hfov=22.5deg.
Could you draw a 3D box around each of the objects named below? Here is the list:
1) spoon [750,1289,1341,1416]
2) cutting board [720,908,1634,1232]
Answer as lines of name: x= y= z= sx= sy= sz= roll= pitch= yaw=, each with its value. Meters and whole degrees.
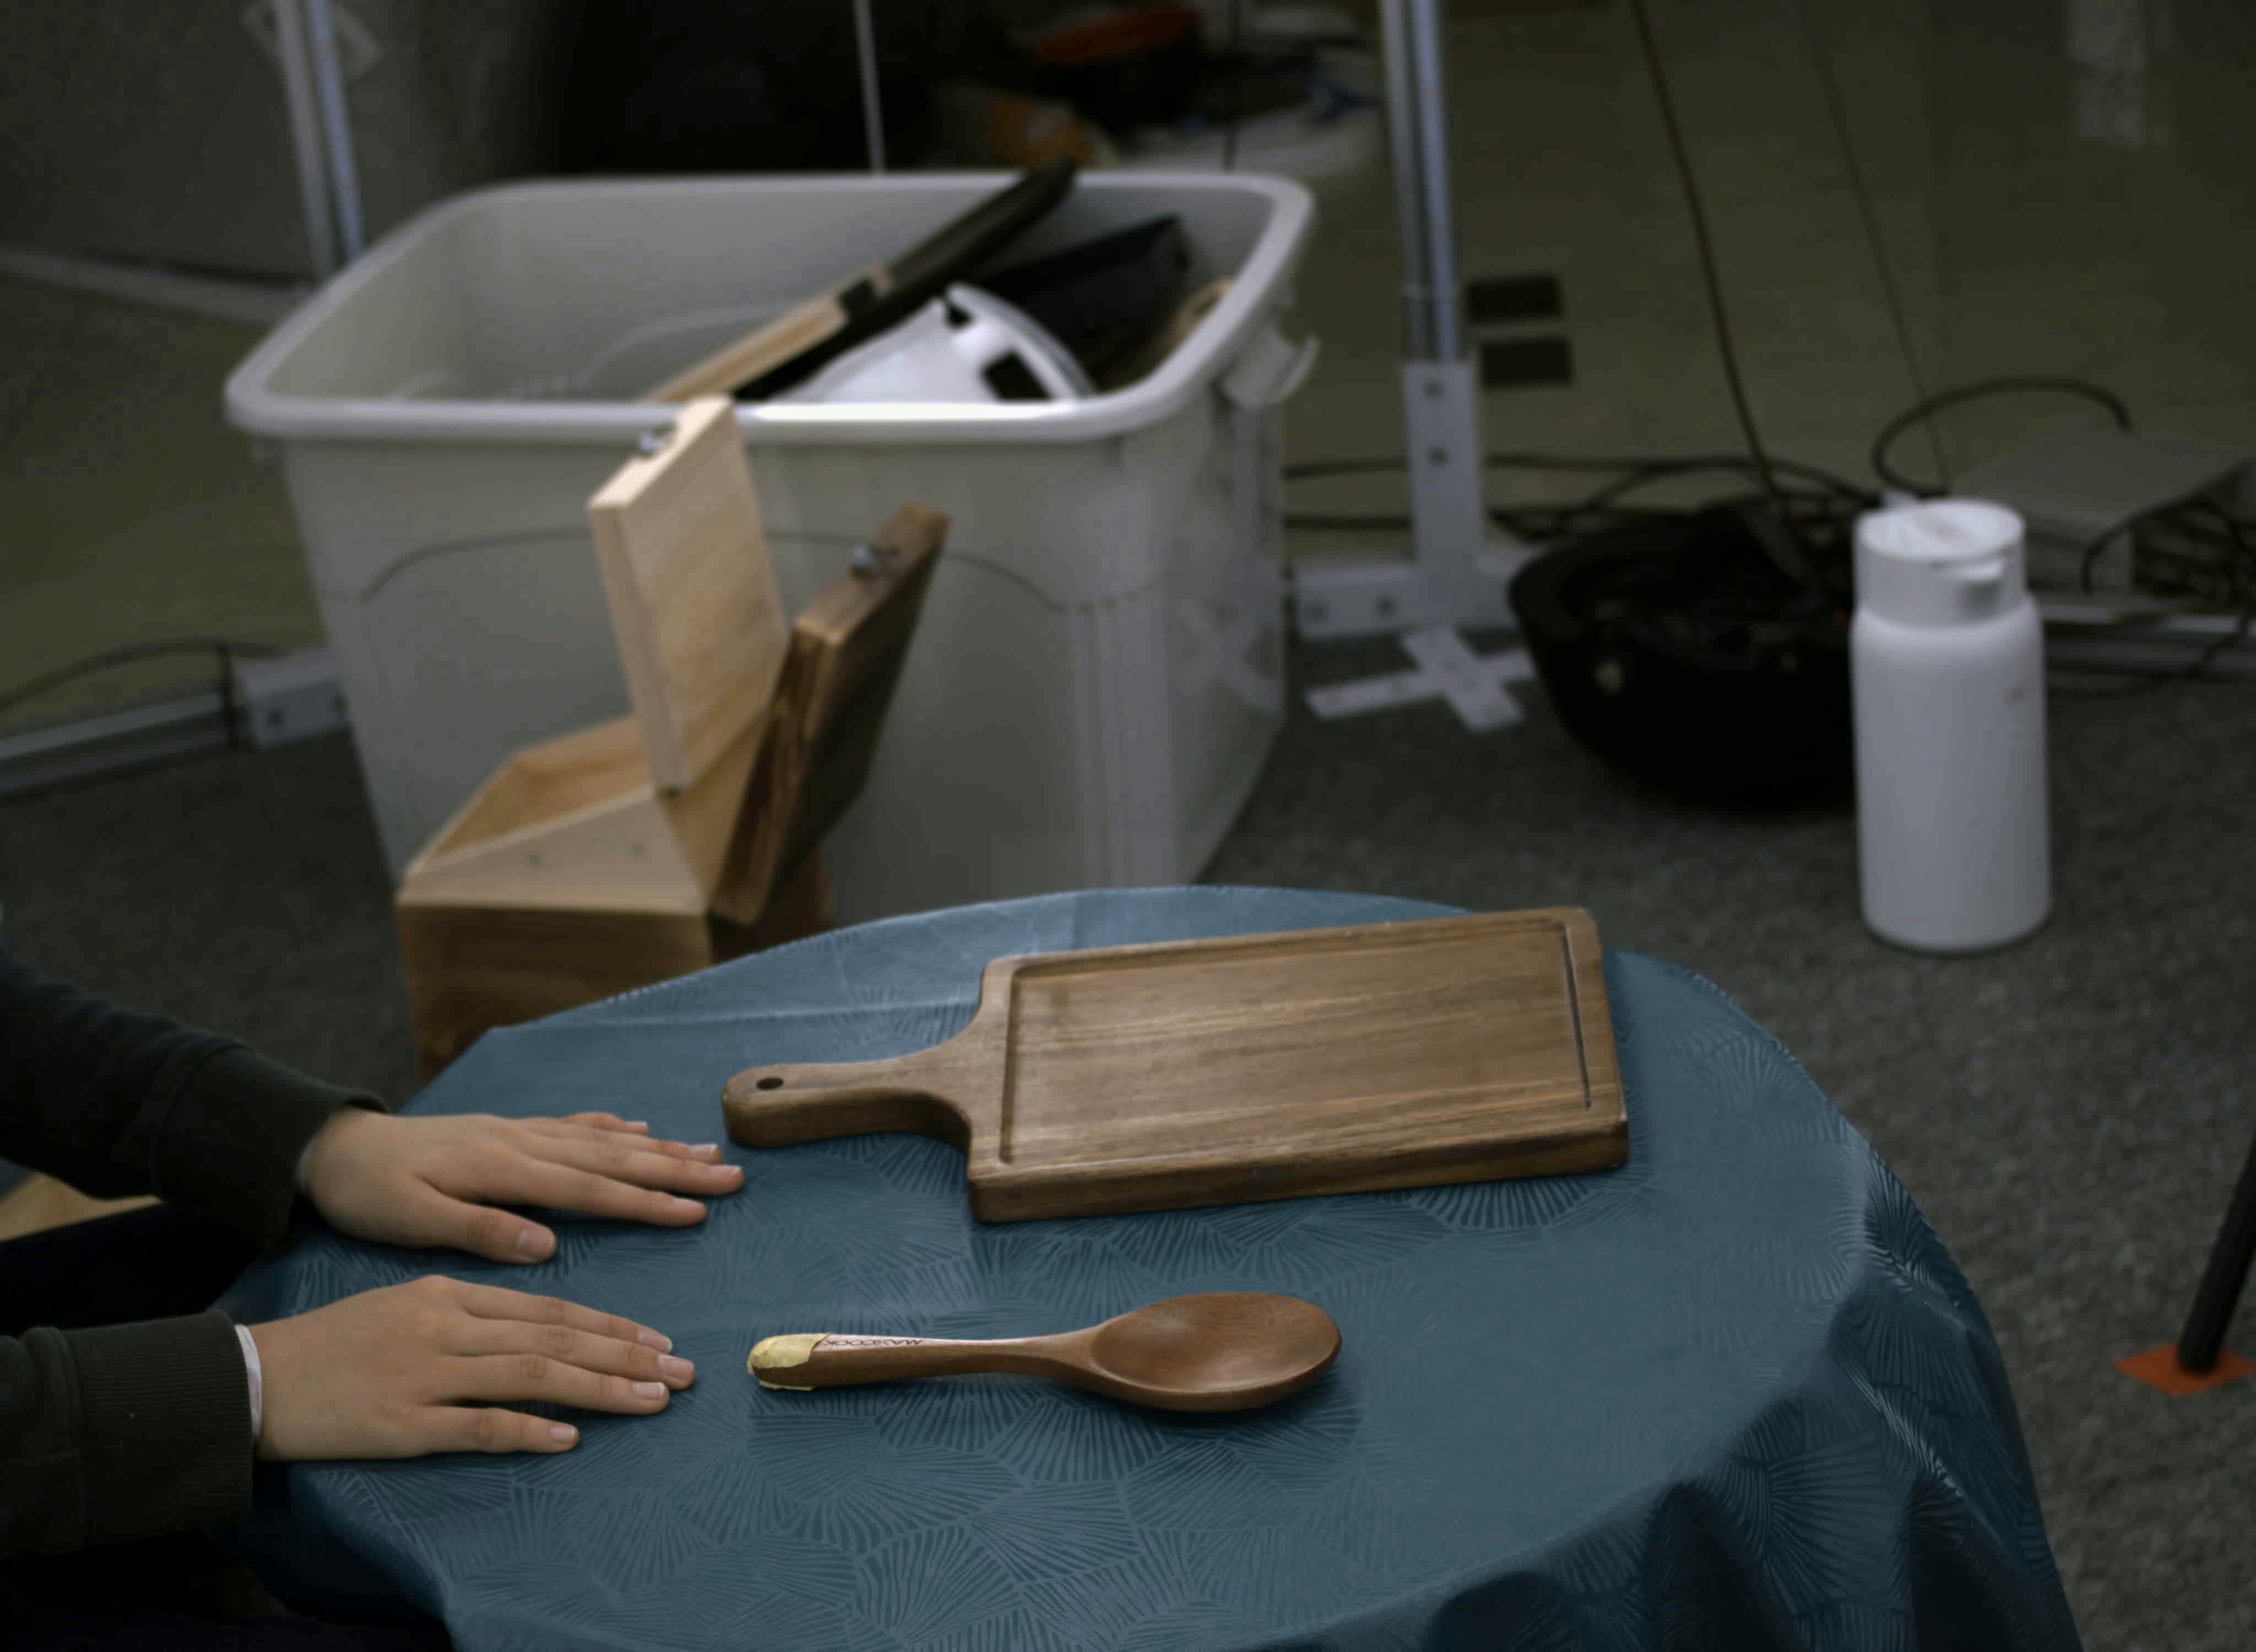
spoon: x=-0.030 y=0.190 z=2.030 sx=0.215 sy=0.017 sz=0.074 roll=-1 pitch=27 yaw=11
cutting board: x=0.015 y=0.097 z=2.218 sx=0.351 sy=0.023 sz=0.198 roll=-5 pitch=26 yaw=3
